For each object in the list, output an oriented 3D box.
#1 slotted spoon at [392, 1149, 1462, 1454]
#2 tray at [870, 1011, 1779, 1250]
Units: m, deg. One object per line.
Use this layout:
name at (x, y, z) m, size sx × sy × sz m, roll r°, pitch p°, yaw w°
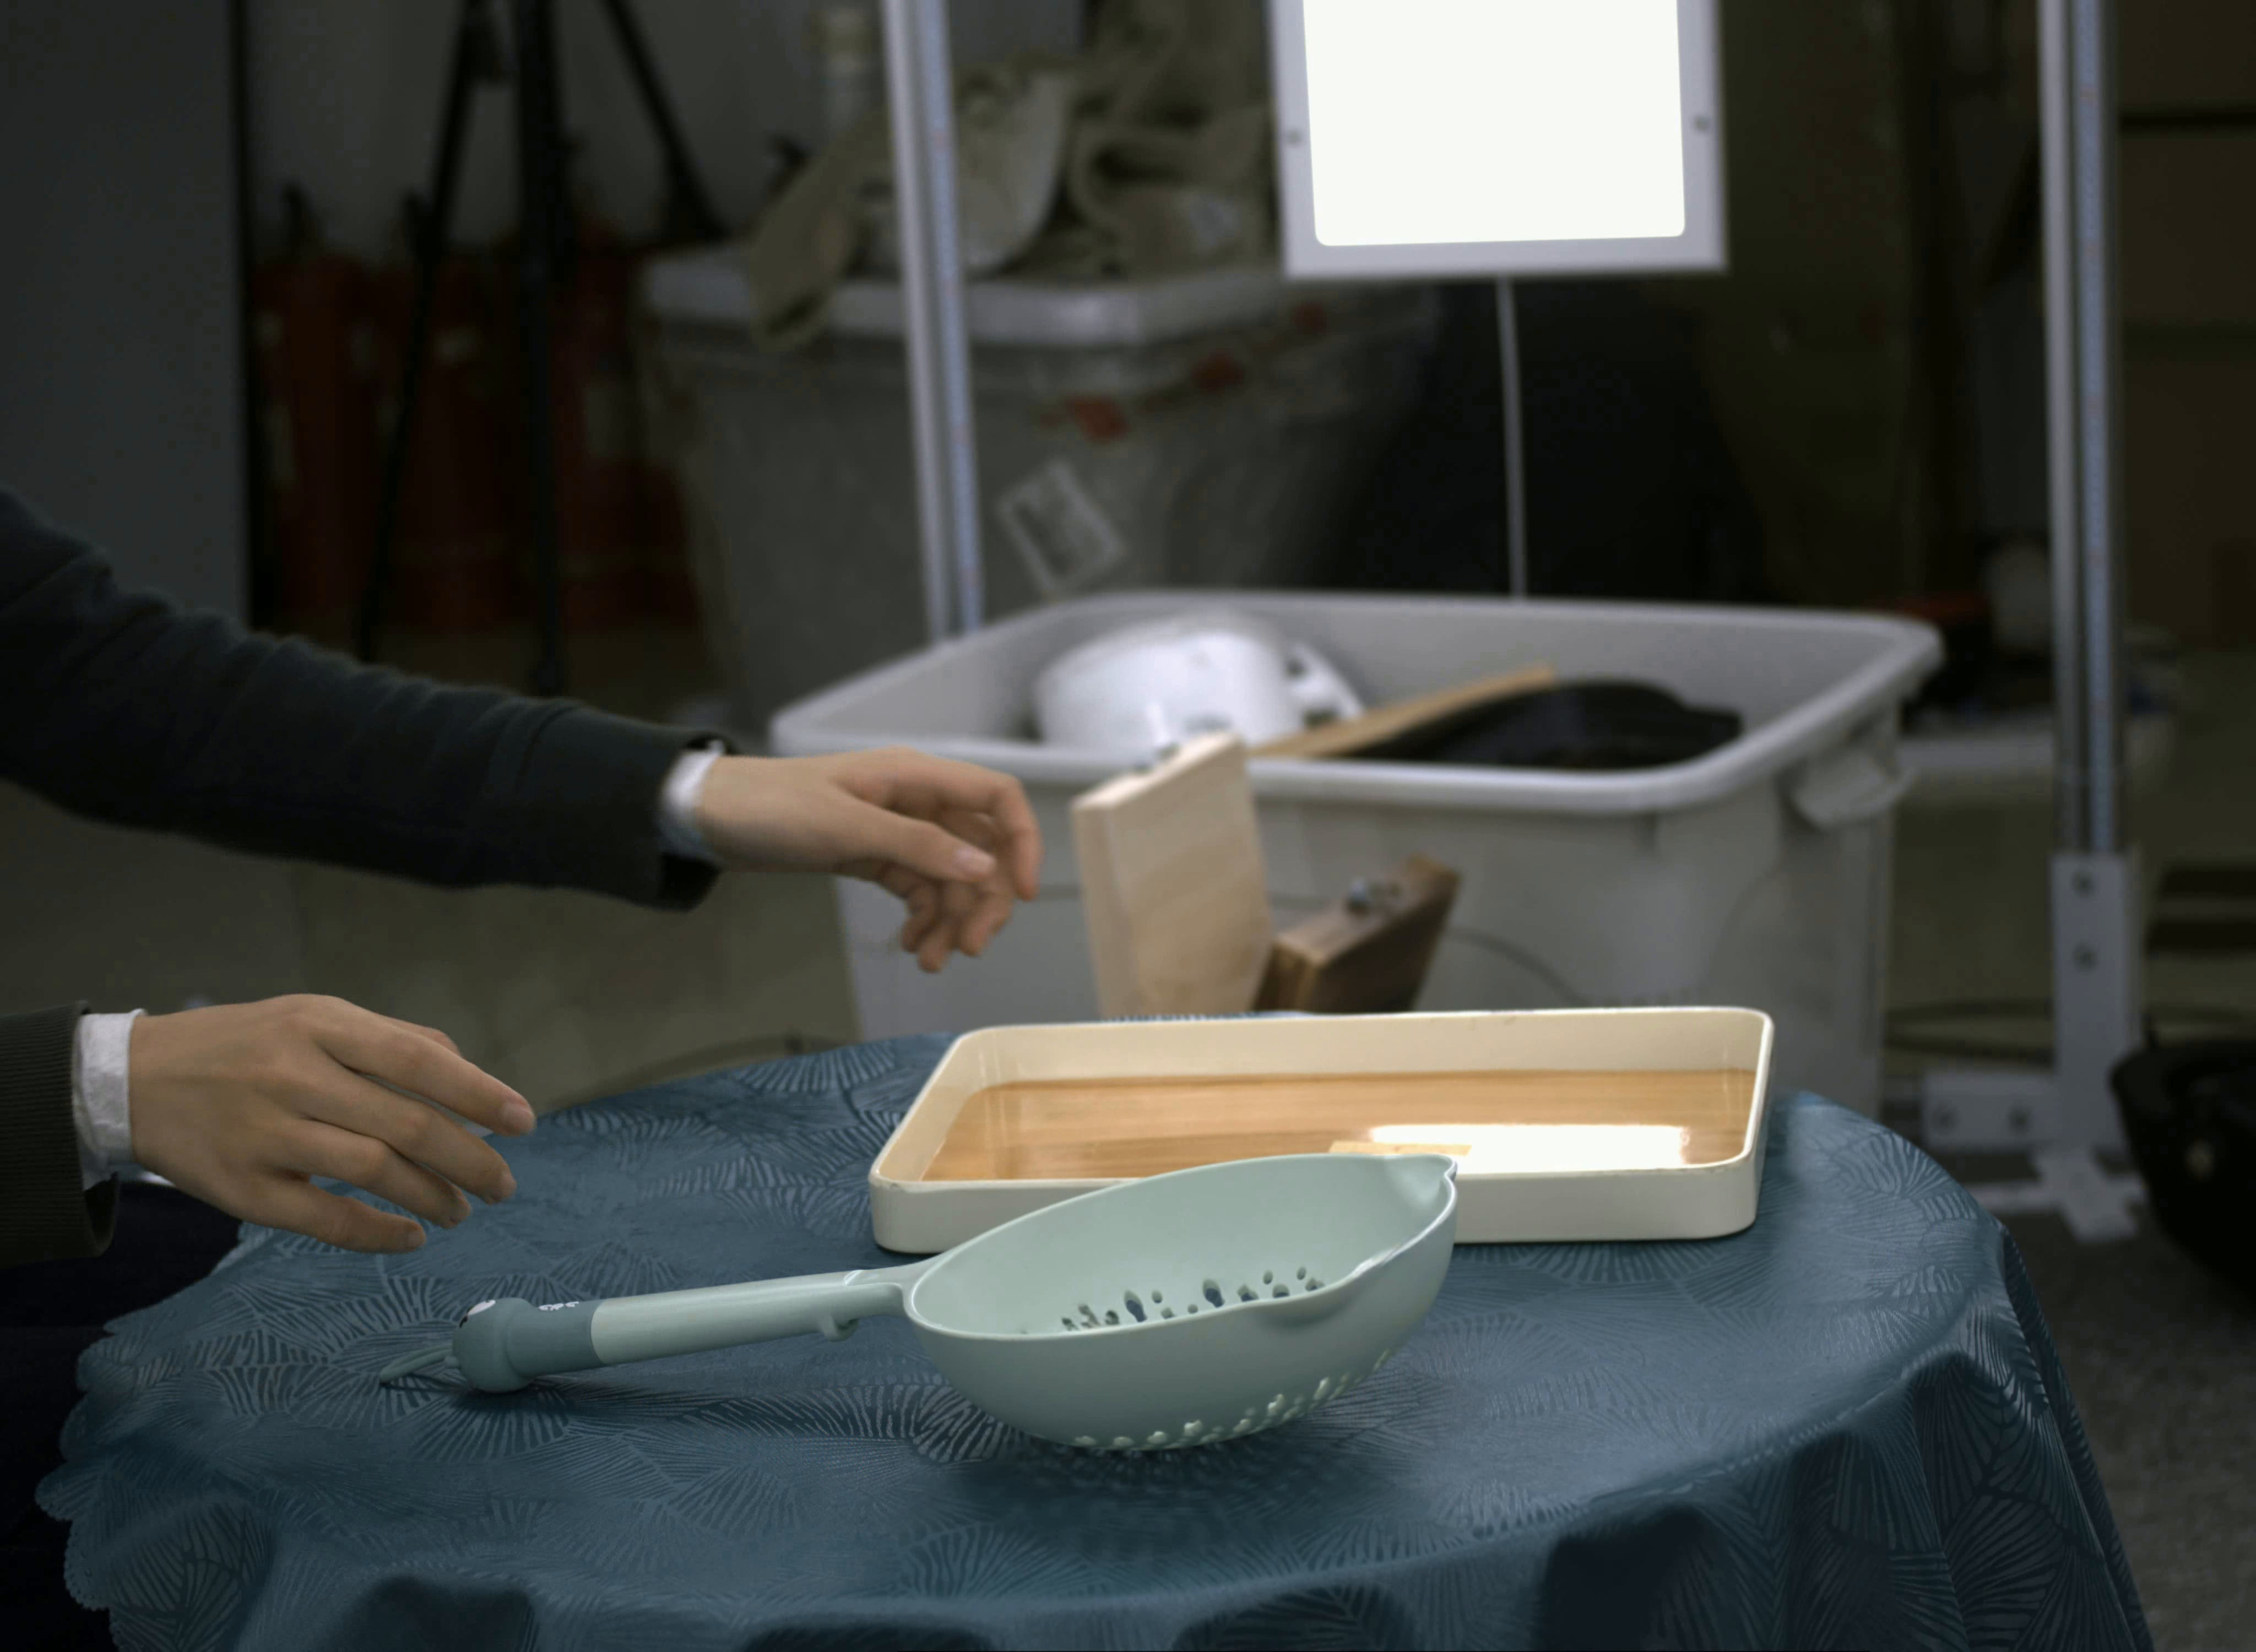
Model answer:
slotted spoon at (-0.070, 0.148, 1.696) m, size 0.364 × 0.075 × 0.166 m, roll 1°, pitch 14°, yaw 22°
tray at (0.073, 0.105, 1.906) m, size 0.302 × 0.027 × 0.189 m, roll -2°, pitch 14°, yaw 12°
